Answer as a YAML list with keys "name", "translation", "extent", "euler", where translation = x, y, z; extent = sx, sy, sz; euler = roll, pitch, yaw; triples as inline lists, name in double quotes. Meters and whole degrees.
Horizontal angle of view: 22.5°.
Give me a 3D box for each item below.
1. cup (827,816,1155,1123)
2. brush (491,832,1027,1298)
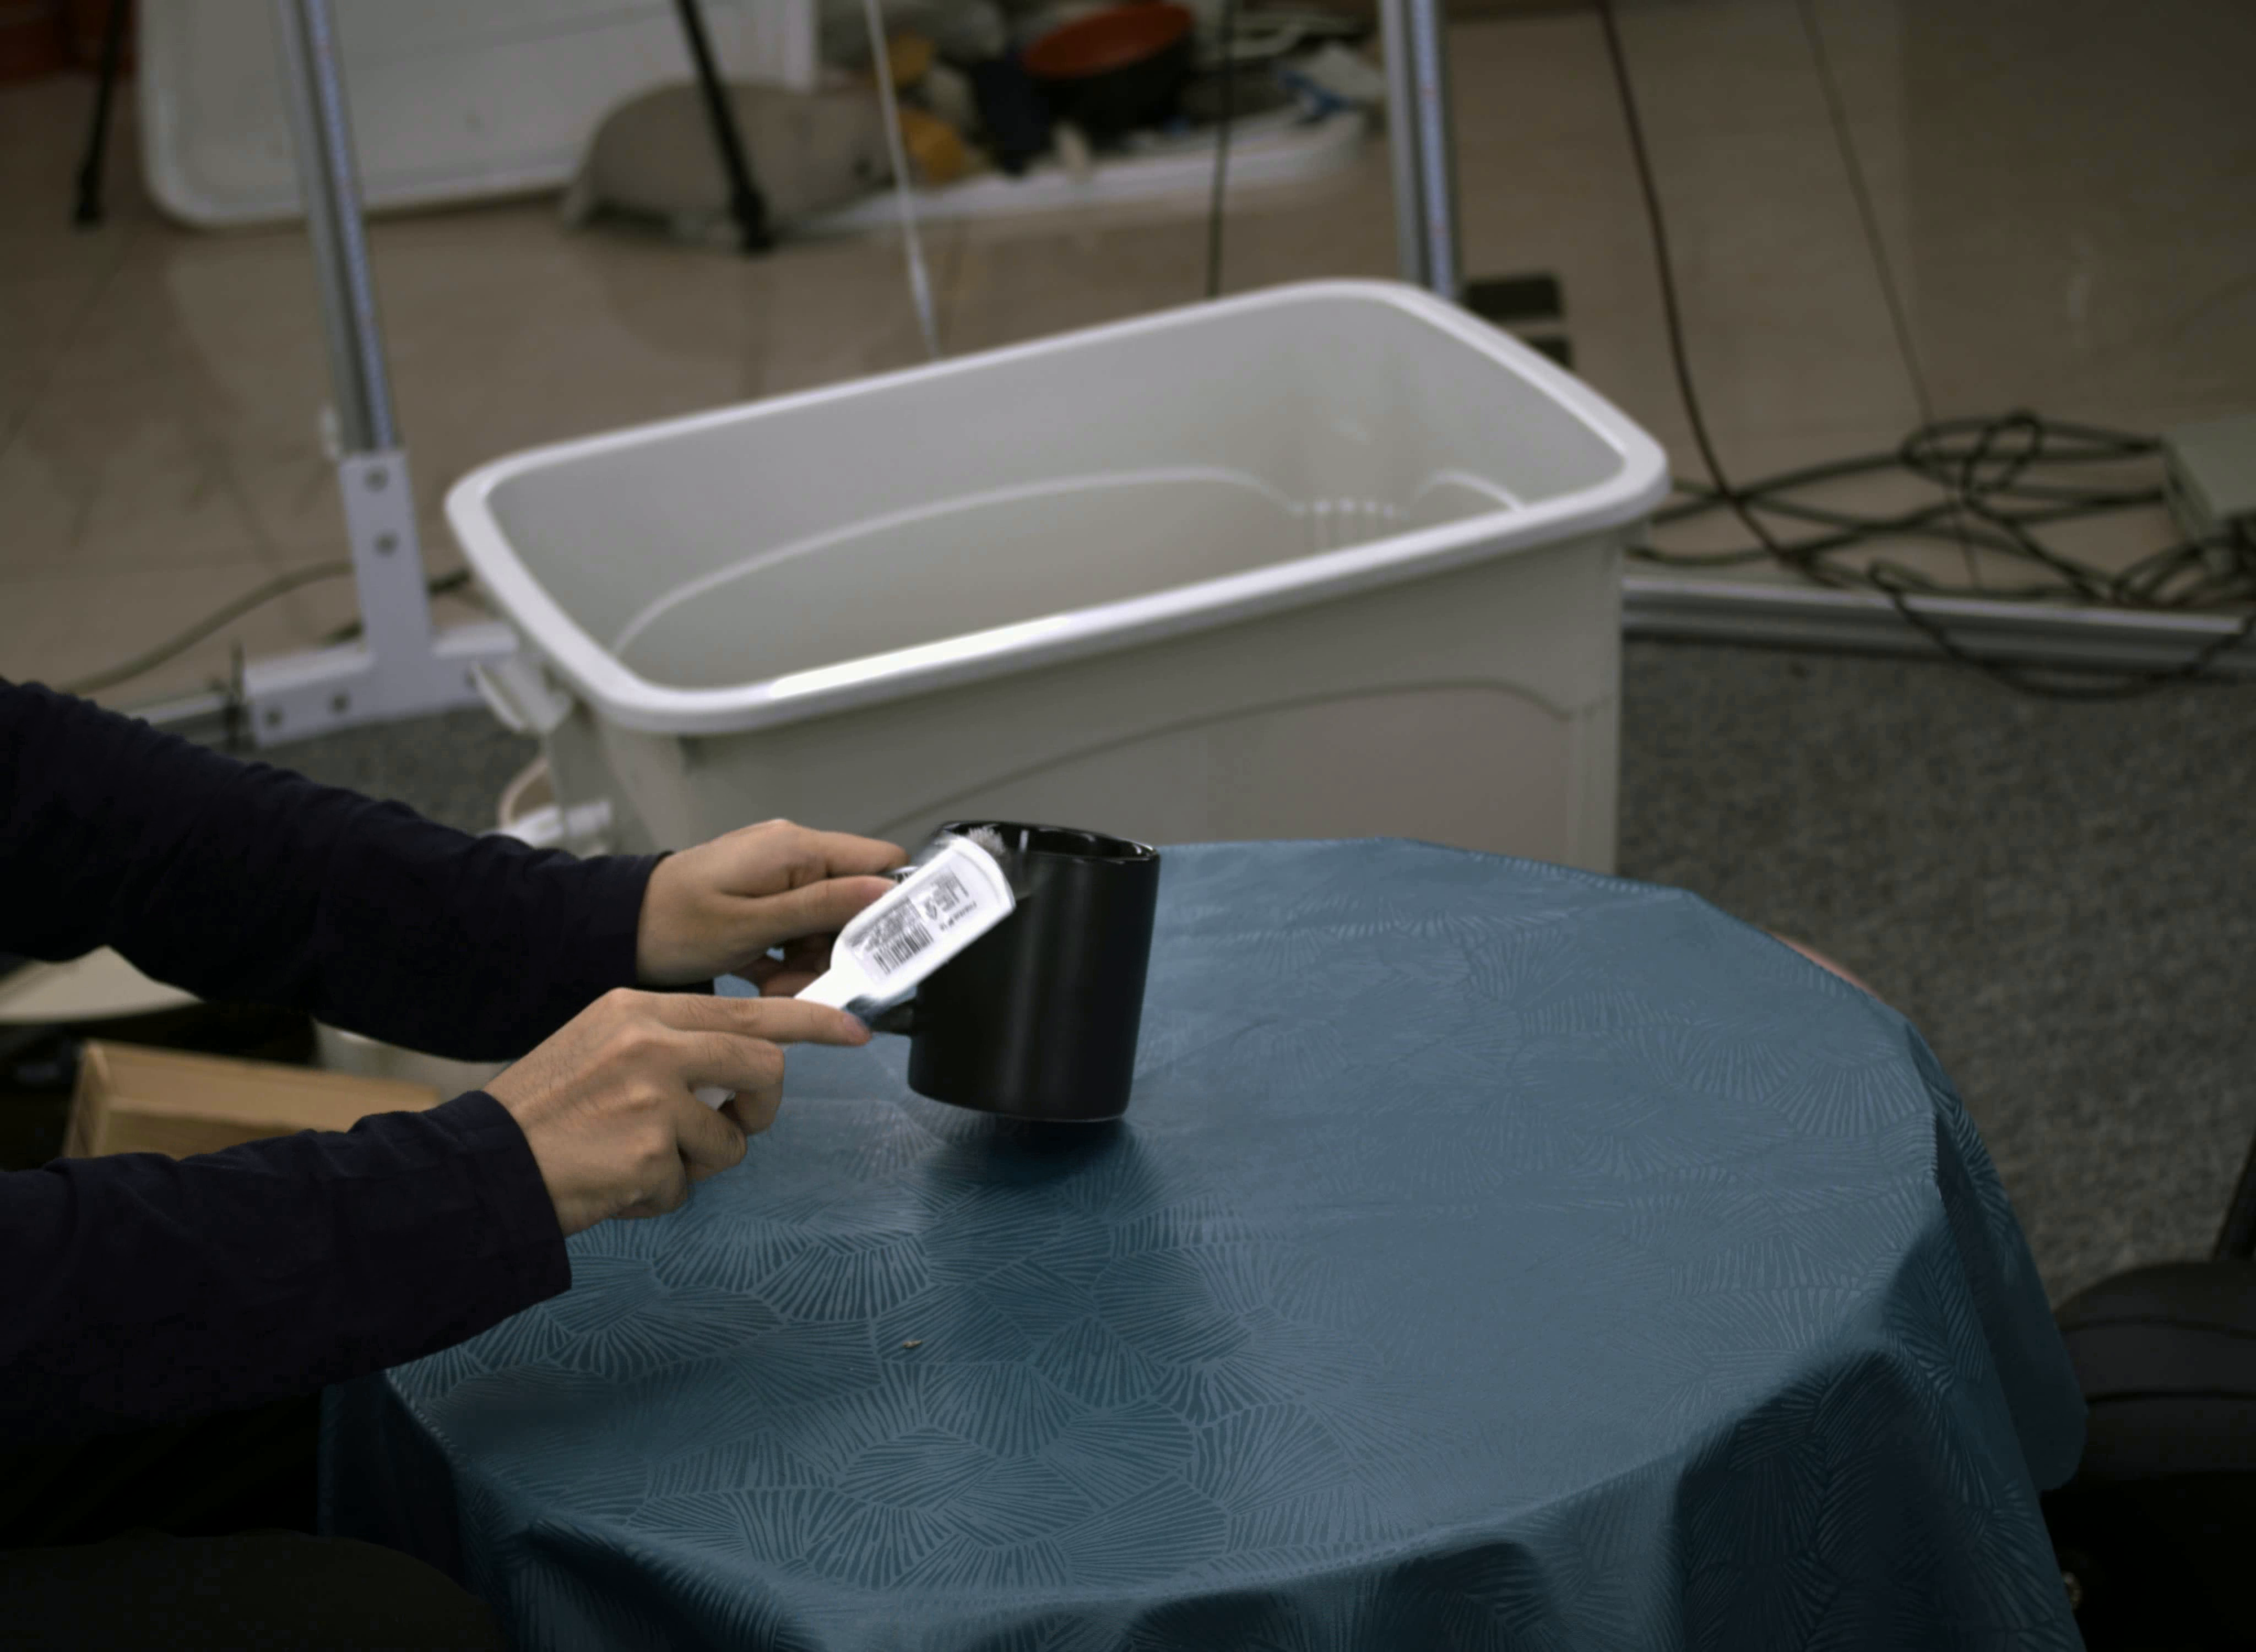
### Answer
- name: "cup"
  translation: [-0.055, 0.053, 2.185]
  extent: [0.123, 0.106, 0.088]
  euler: [6, 12, 2]
- name: "brush"
  translation: [-0.136, 0.087, 2.063]
  extent: [0.243, 0.034, 0.050]
  euler: [-40, 8, -7]
